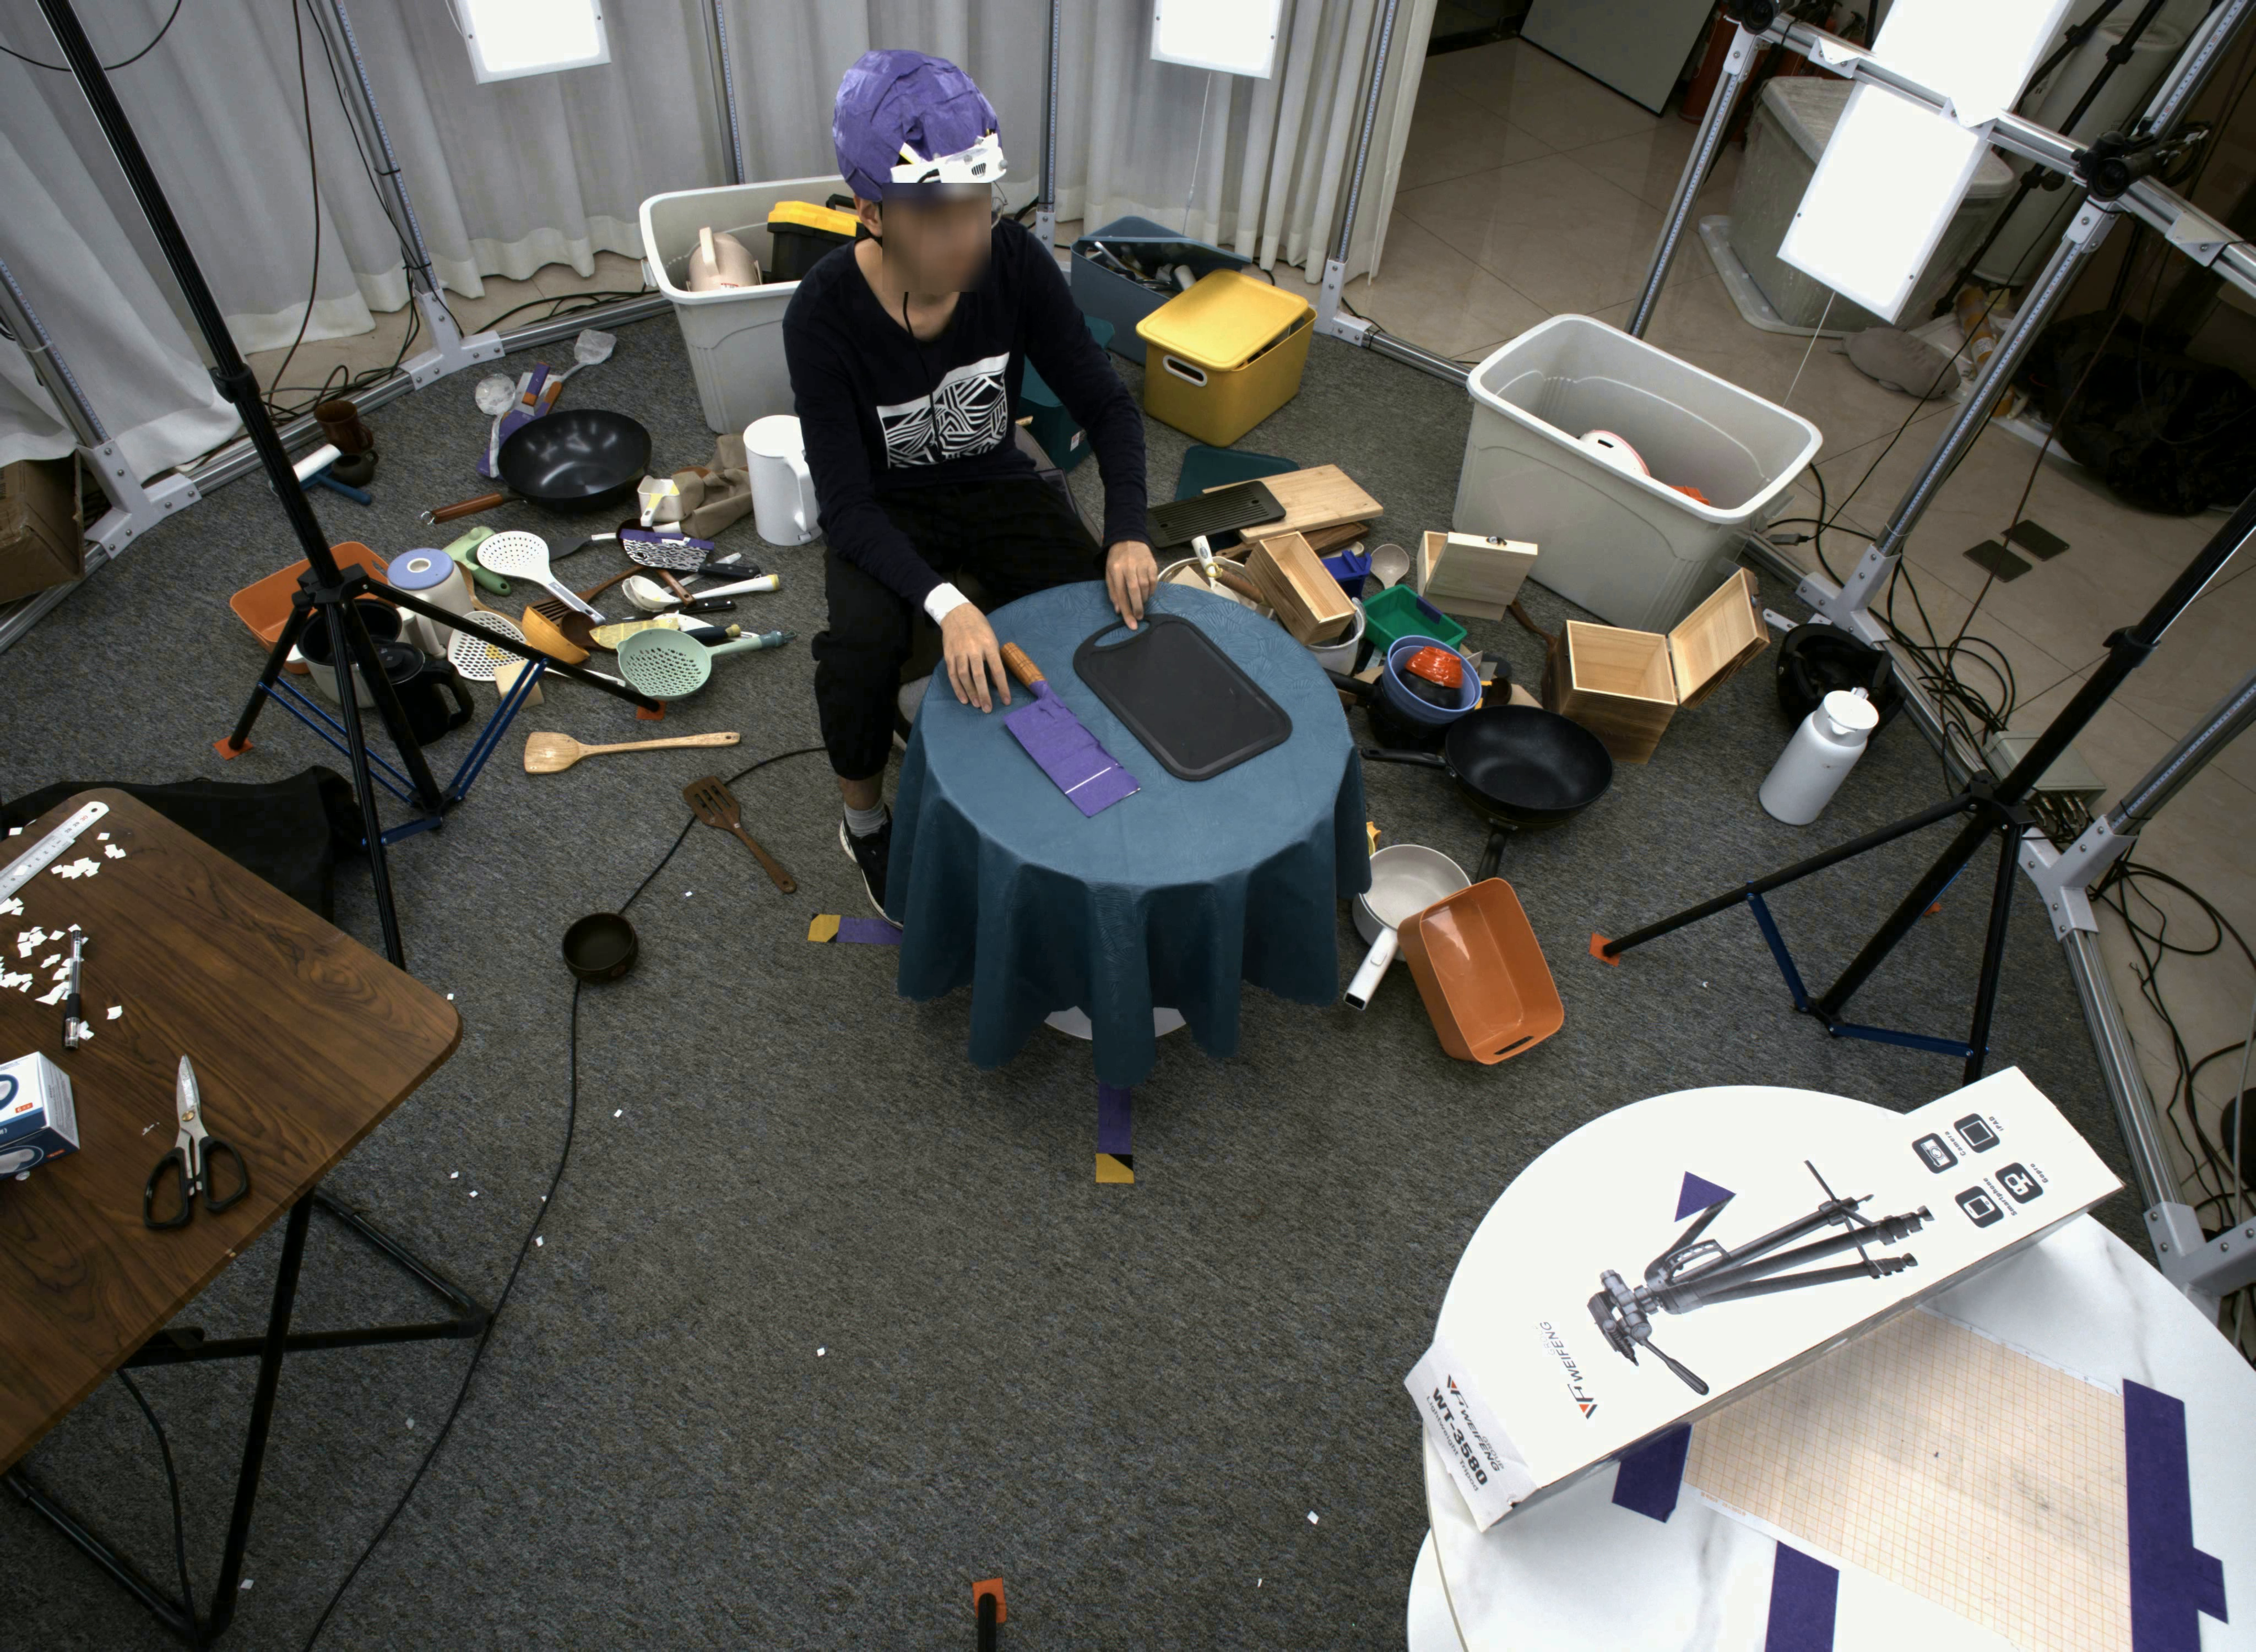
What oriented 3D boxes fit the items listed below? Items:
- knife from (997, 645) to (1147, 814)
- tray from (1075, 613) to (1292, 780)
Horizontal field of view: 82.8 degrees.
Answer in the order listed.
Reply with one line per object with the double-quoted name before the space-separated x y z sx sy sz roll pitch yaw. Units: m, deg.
"knife" -0.107 -0.137 1.761 0.104 0.031 0.321 -28 57 -25
"tray" 0.071 -0.197 1.838 0.212 0.009 0.332 -25 55 -24
